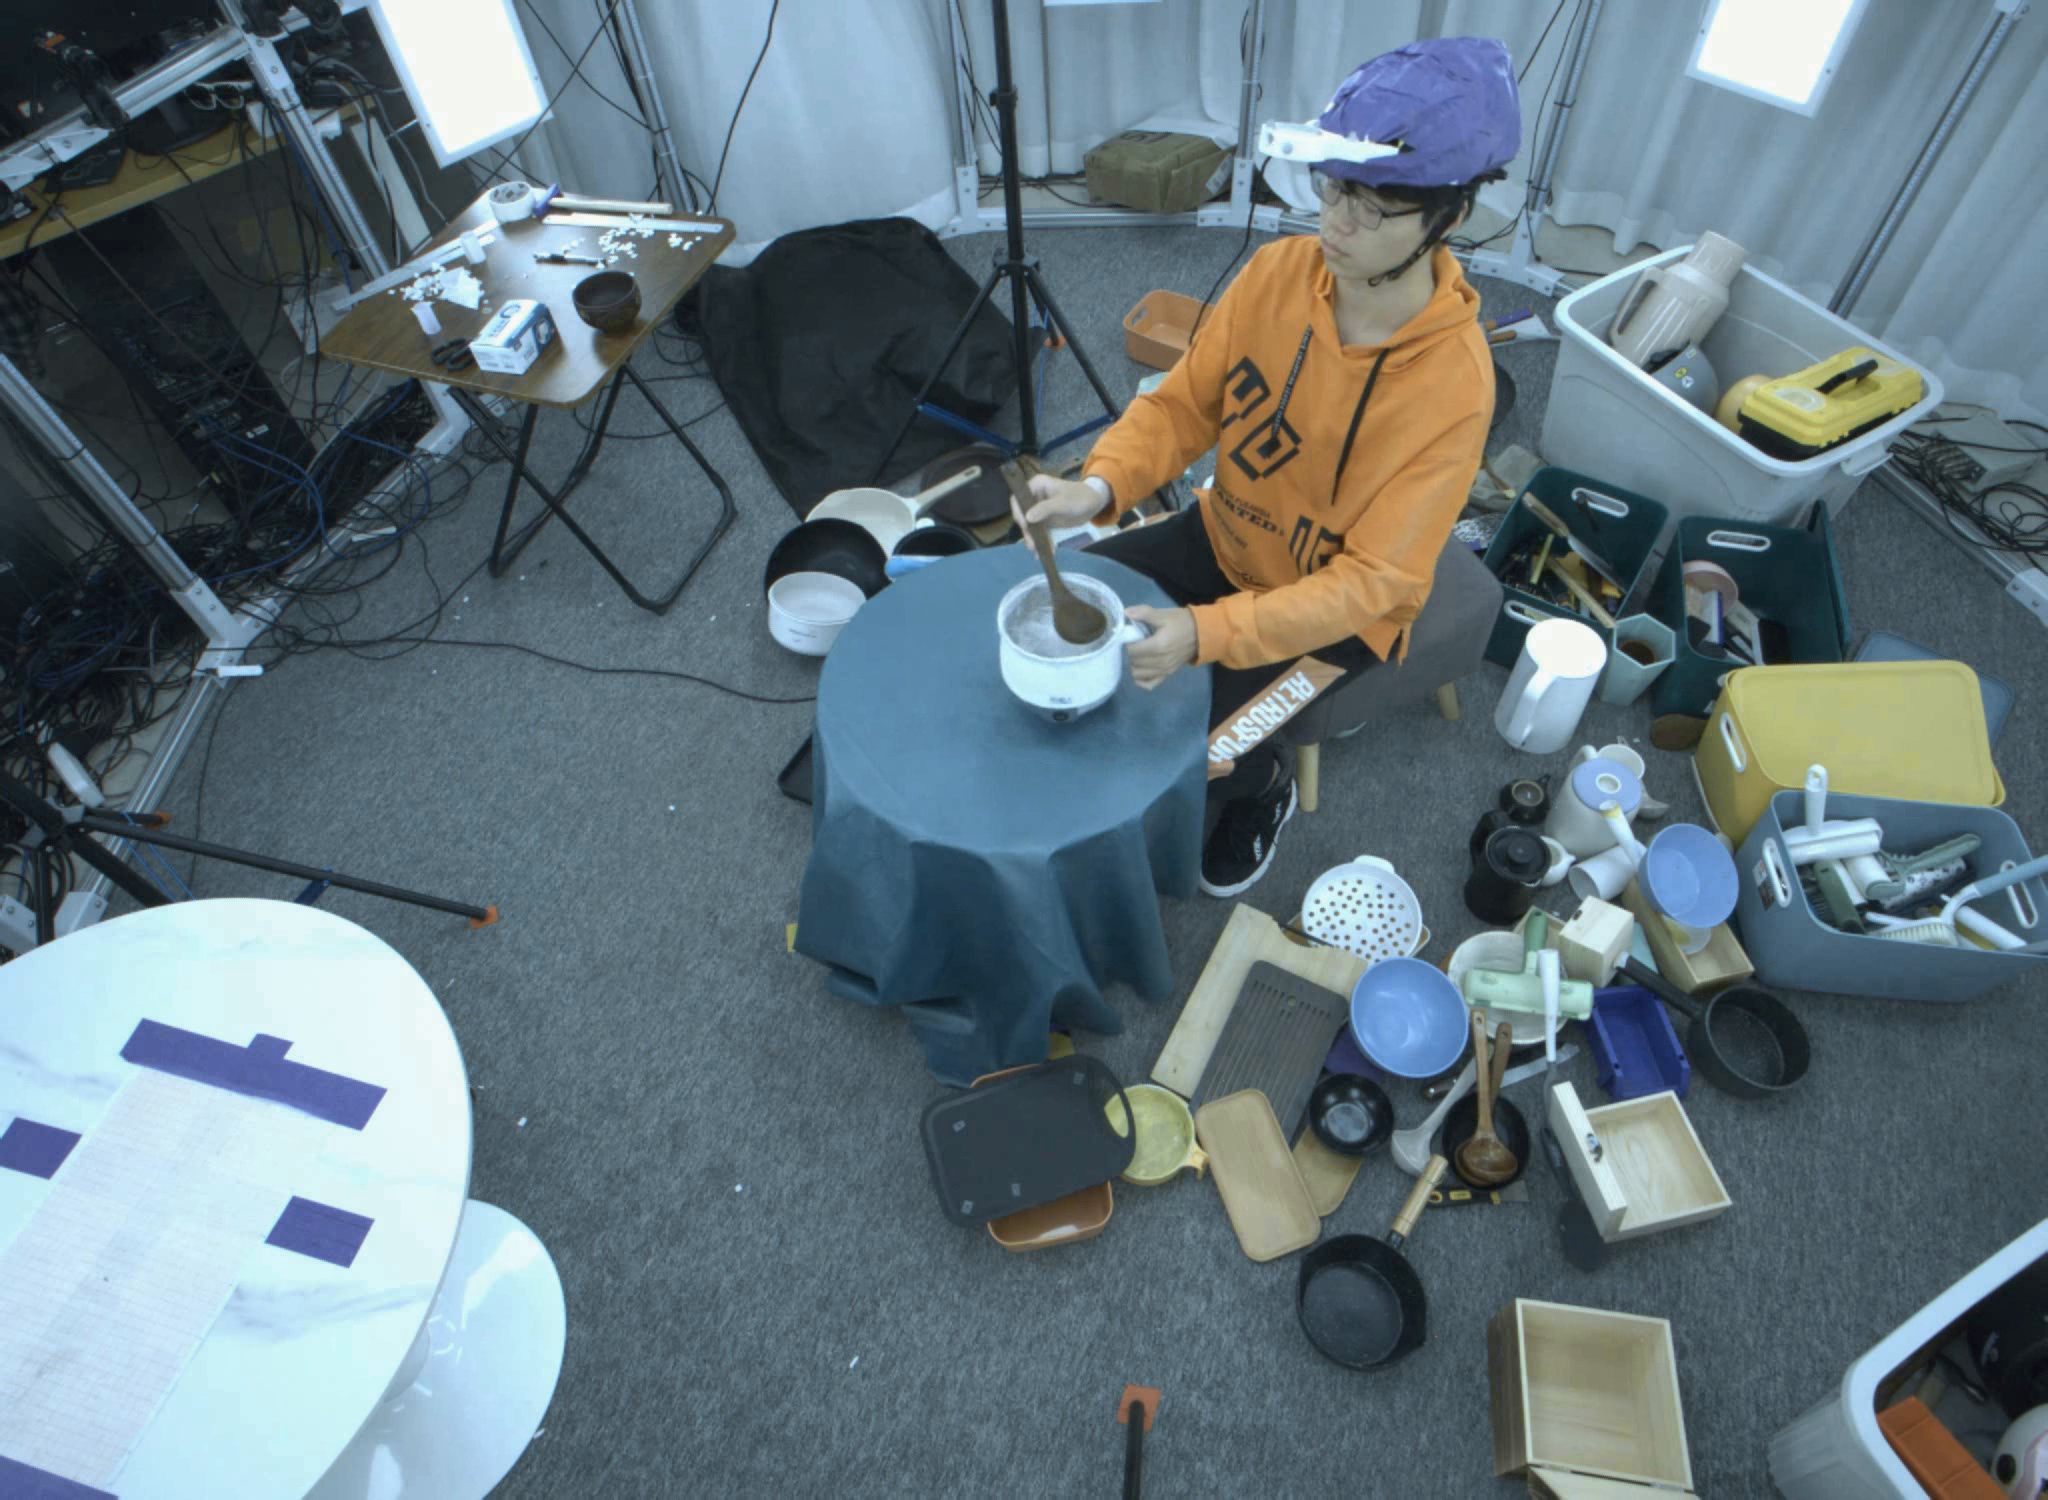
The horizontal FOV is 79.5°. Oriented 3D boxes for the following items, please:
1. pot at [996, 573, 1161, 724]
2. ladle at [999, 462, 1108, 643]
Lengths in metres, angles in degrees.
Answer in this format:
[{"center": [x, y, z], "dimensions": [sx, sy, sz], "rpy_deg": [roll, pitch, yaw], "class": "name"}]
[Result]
[{"center": [0.080, -0.145, 1.751], "dimensions": [0.234, 0.138, 0.176], "rpy_deg": [-1, 52, 0], "class": "pot"}, {"center": [0.037, -0.276, 1.687], "dimensions": [0.077, 0.070, 0.275], "rpy_deg": [-26, 99, -26], "class": "ladle"}]
